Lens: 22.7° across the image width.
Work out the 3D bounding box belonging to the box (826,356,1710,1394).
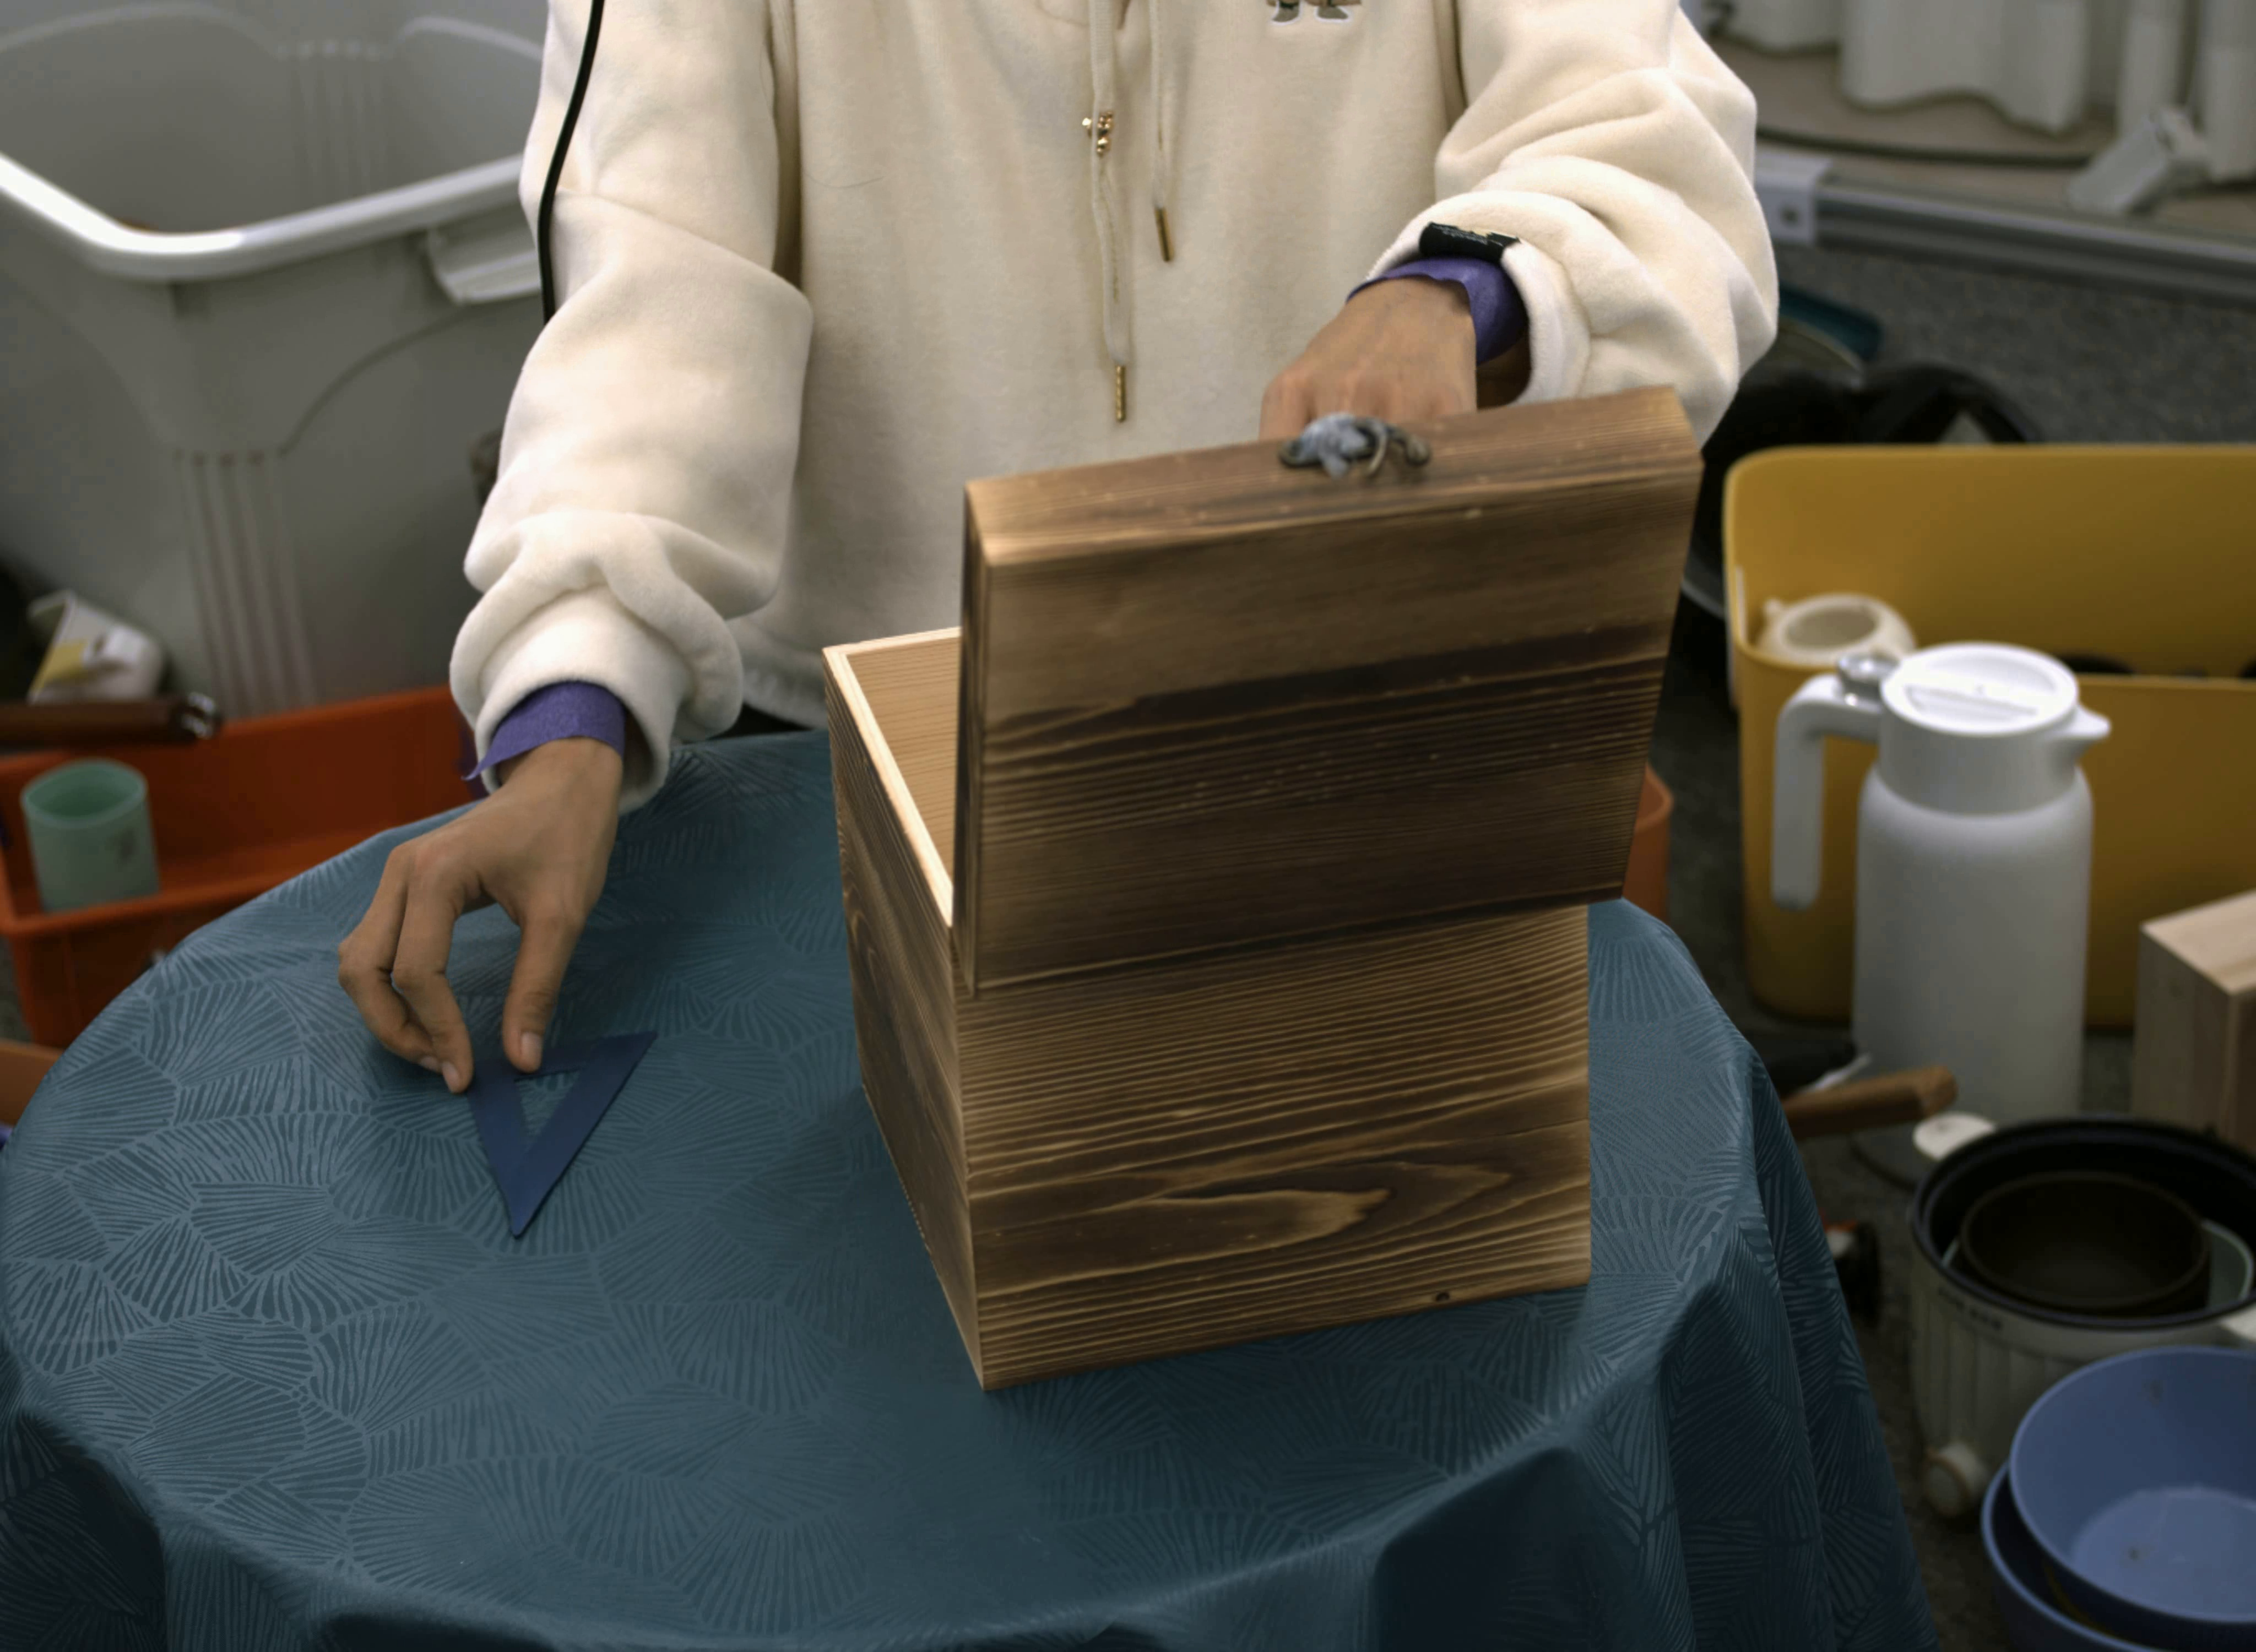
[{"bbox_3d":[0.033,-0.016,1.742,0.208,0.371,0.326,-8,28,-11],"label":"box"}]

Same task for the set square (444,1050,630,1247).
[{"bbox_3d":[-0.220,0.105,1.909,0.061,0.006,0.134,10,30,16],"label":"set square"}]
